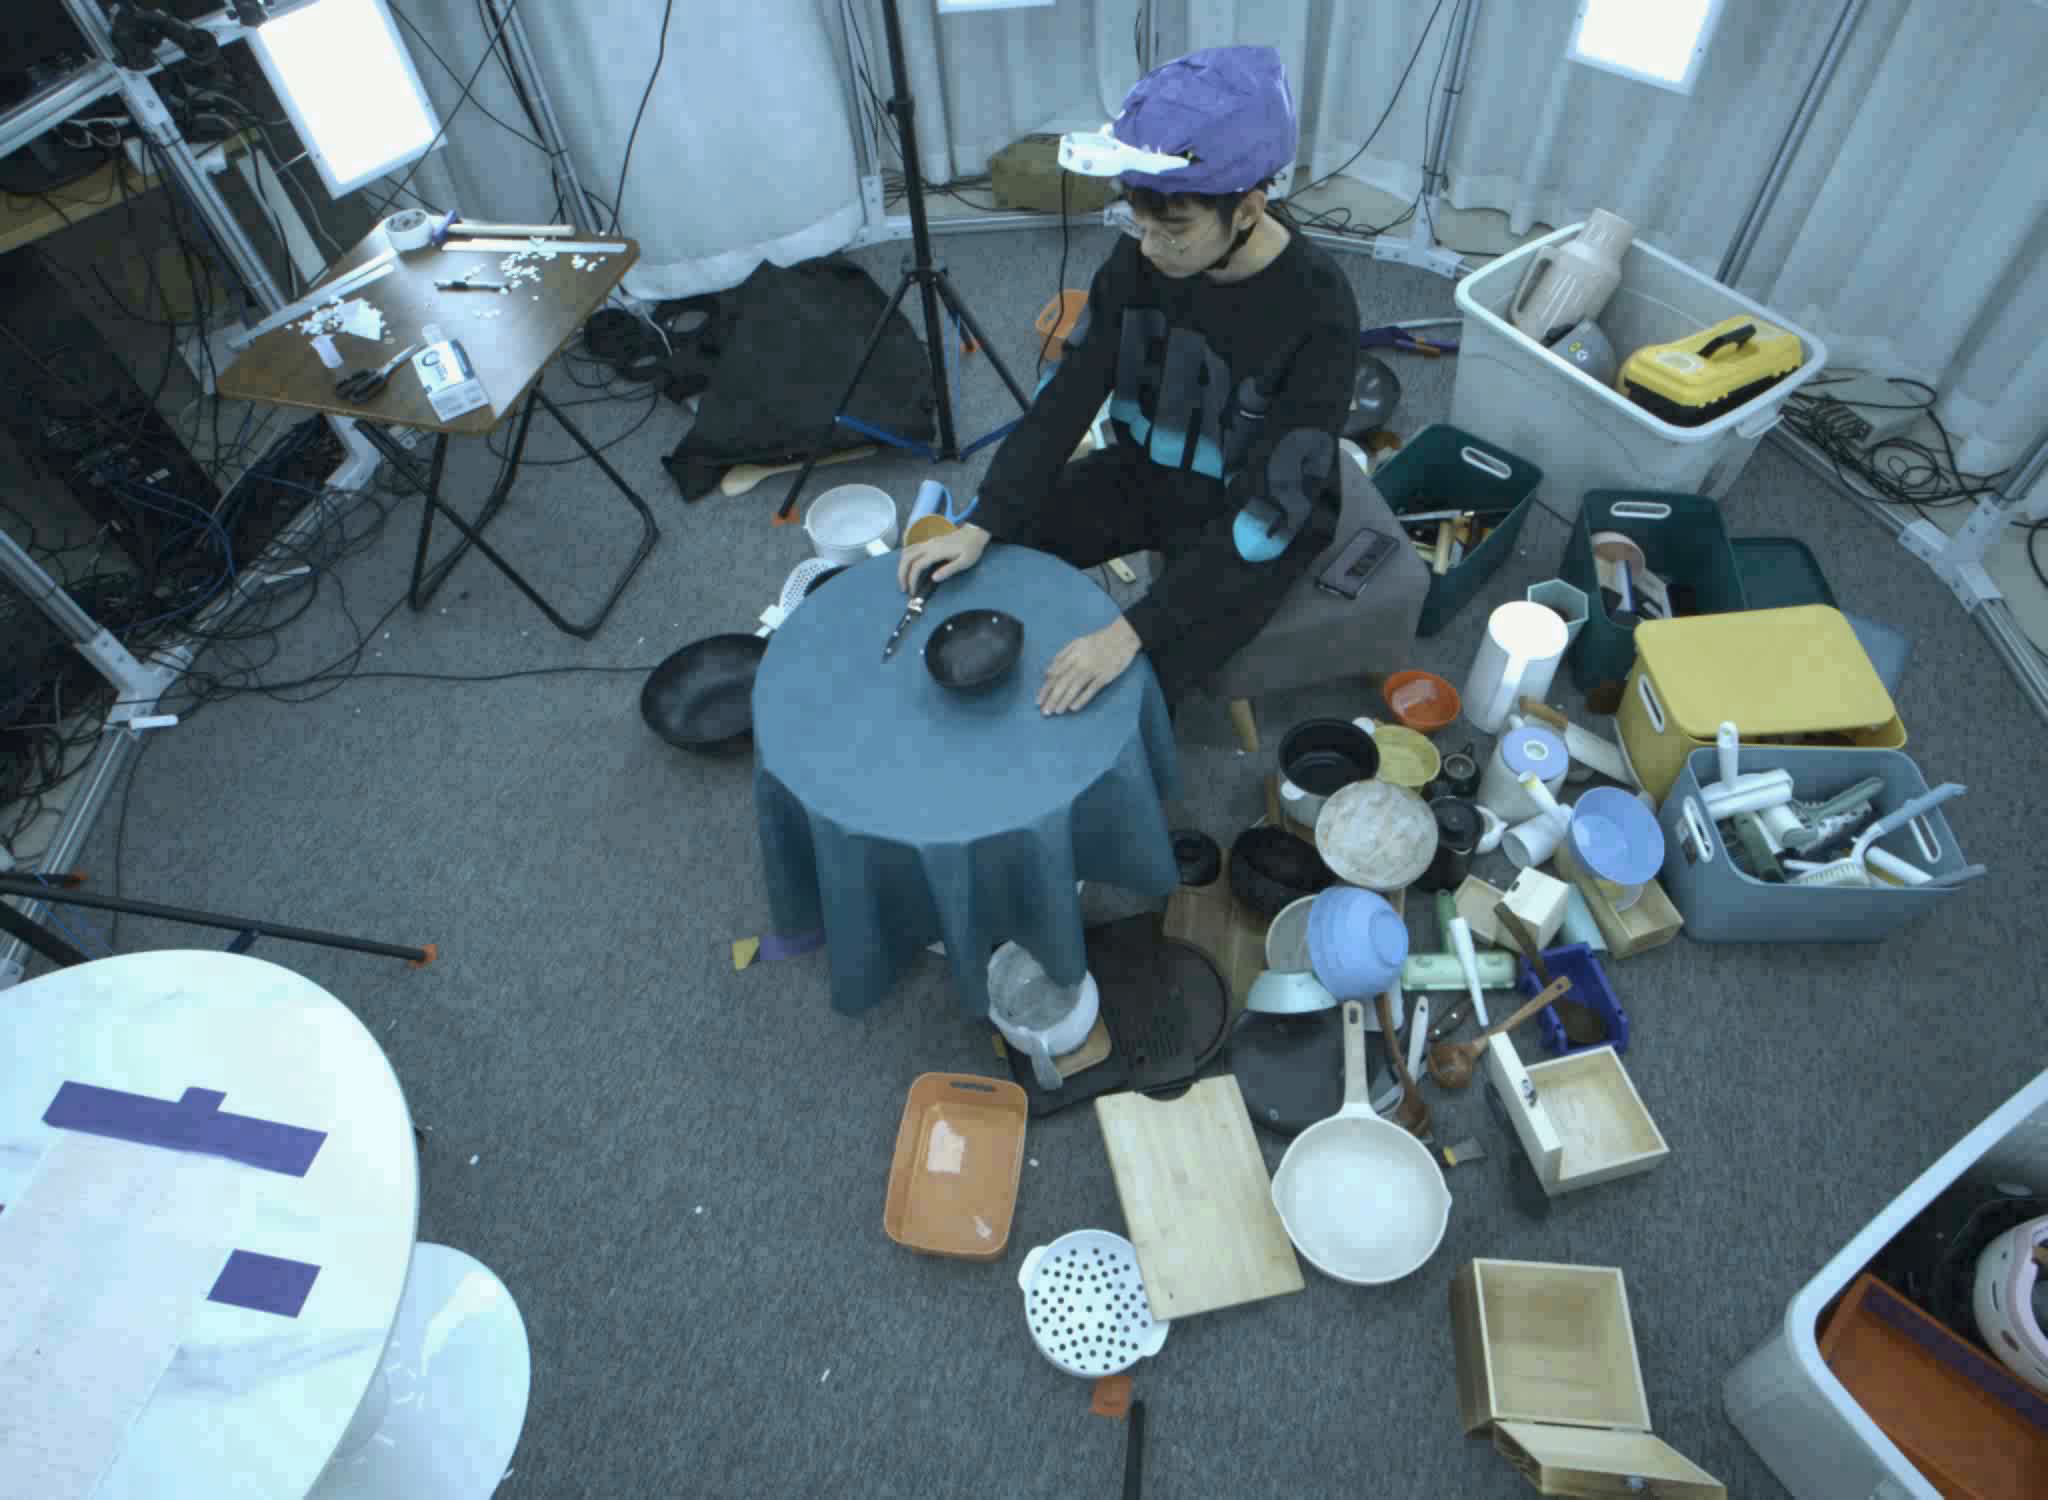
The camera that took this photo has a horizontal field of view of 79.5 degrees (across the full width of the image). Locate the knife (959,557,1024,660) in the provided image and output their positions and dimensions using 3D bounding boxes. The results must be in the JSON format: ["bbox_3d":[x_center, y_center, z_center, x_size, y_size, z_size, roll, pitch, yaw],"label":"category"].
[{"bbox_3d":[-0.055,-0.226,1.942,0.026,0.017,0.225,19,59,18],"label":"knife"}]

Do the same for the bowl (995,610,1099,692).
[{"bbox_3d":[0.035,-0.140,1.845,0.135,0.067,0.171,38,62,25],"label":"bowl"}]
